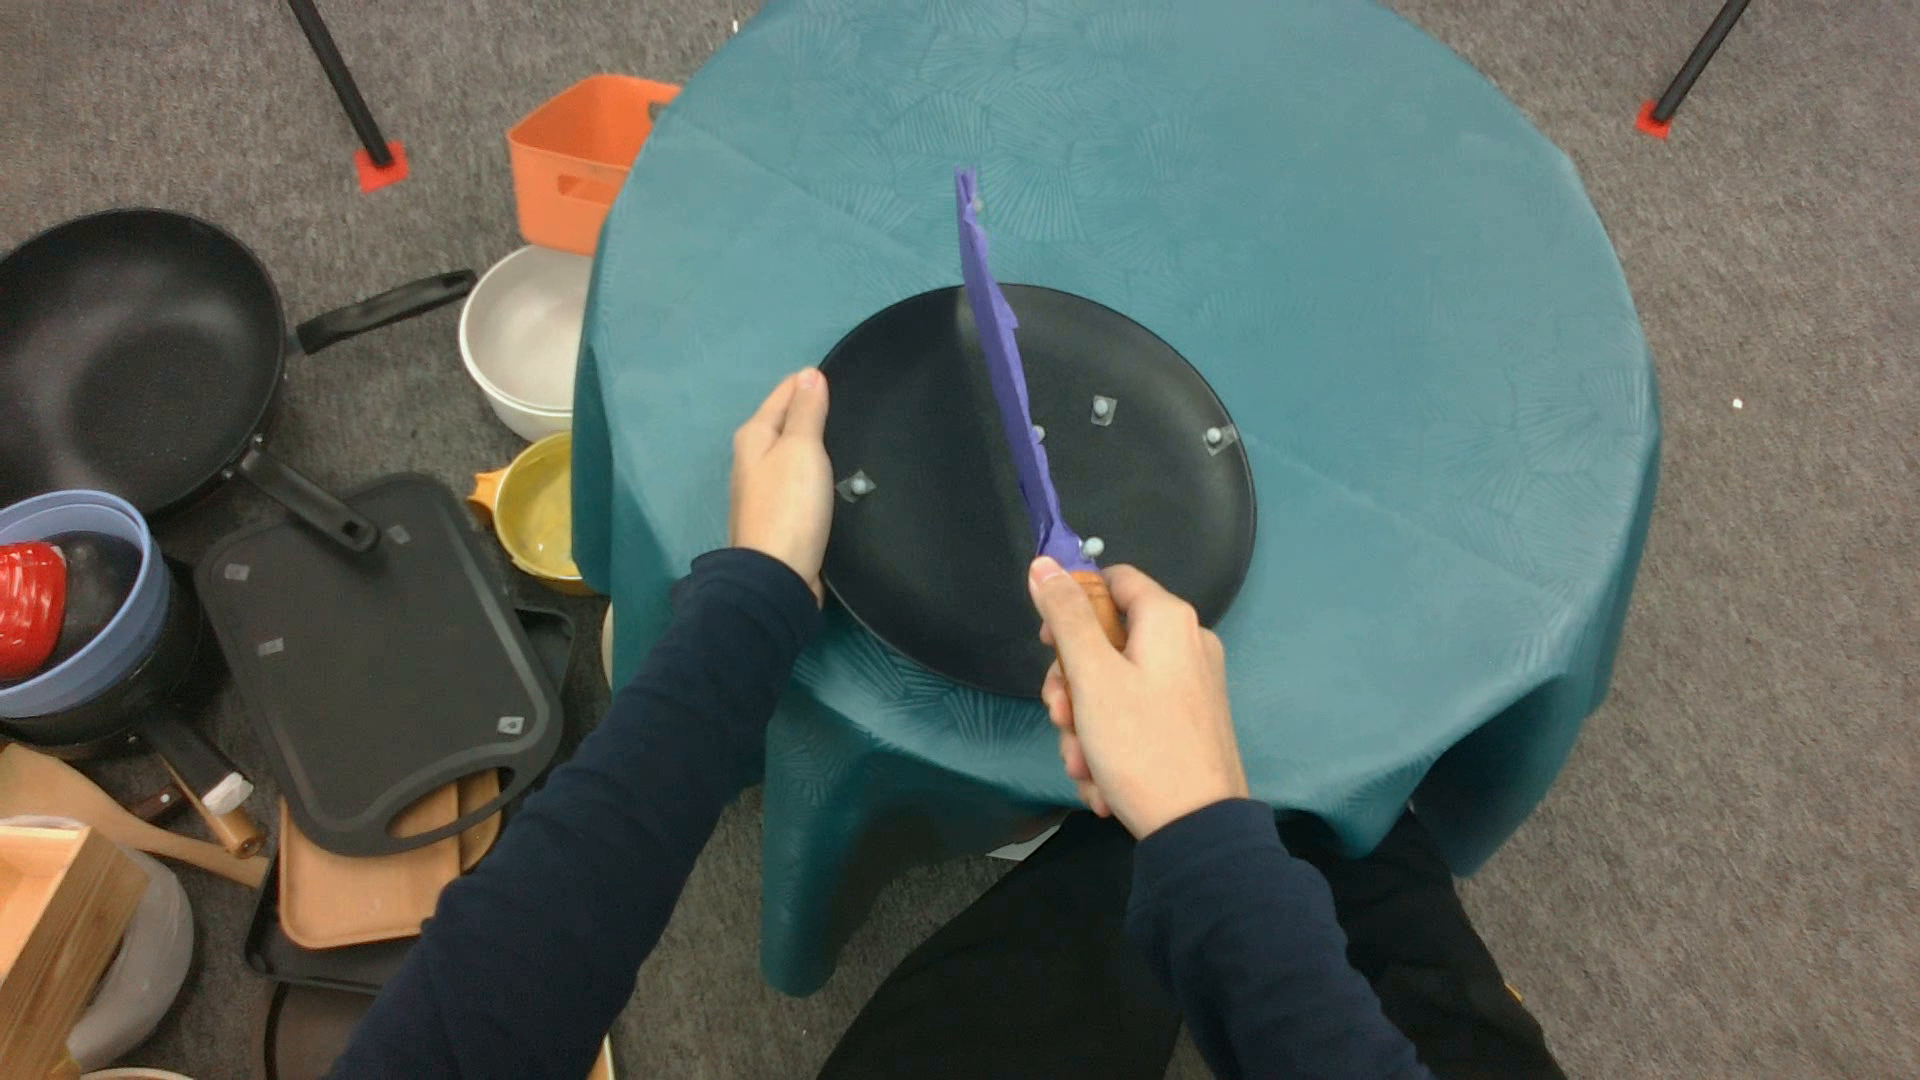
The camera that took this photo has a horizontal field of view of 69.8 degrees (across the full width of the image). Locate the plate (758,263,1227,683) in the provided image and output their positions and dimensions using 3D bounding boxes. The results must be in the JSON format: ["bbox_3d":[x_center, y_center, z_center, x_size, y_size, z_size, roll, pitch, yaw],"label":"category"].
[{"bbox_3d":[0.018,-0.038,0.705,0.244,0.023,0.245,6,62,-10],"label":"plate"}]

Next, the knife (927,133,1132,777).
[{"bbox_3d":[0.024,-0.037,0.640,0.032,0.103,0.316,-12,66,-2],"label":"knife"}]
